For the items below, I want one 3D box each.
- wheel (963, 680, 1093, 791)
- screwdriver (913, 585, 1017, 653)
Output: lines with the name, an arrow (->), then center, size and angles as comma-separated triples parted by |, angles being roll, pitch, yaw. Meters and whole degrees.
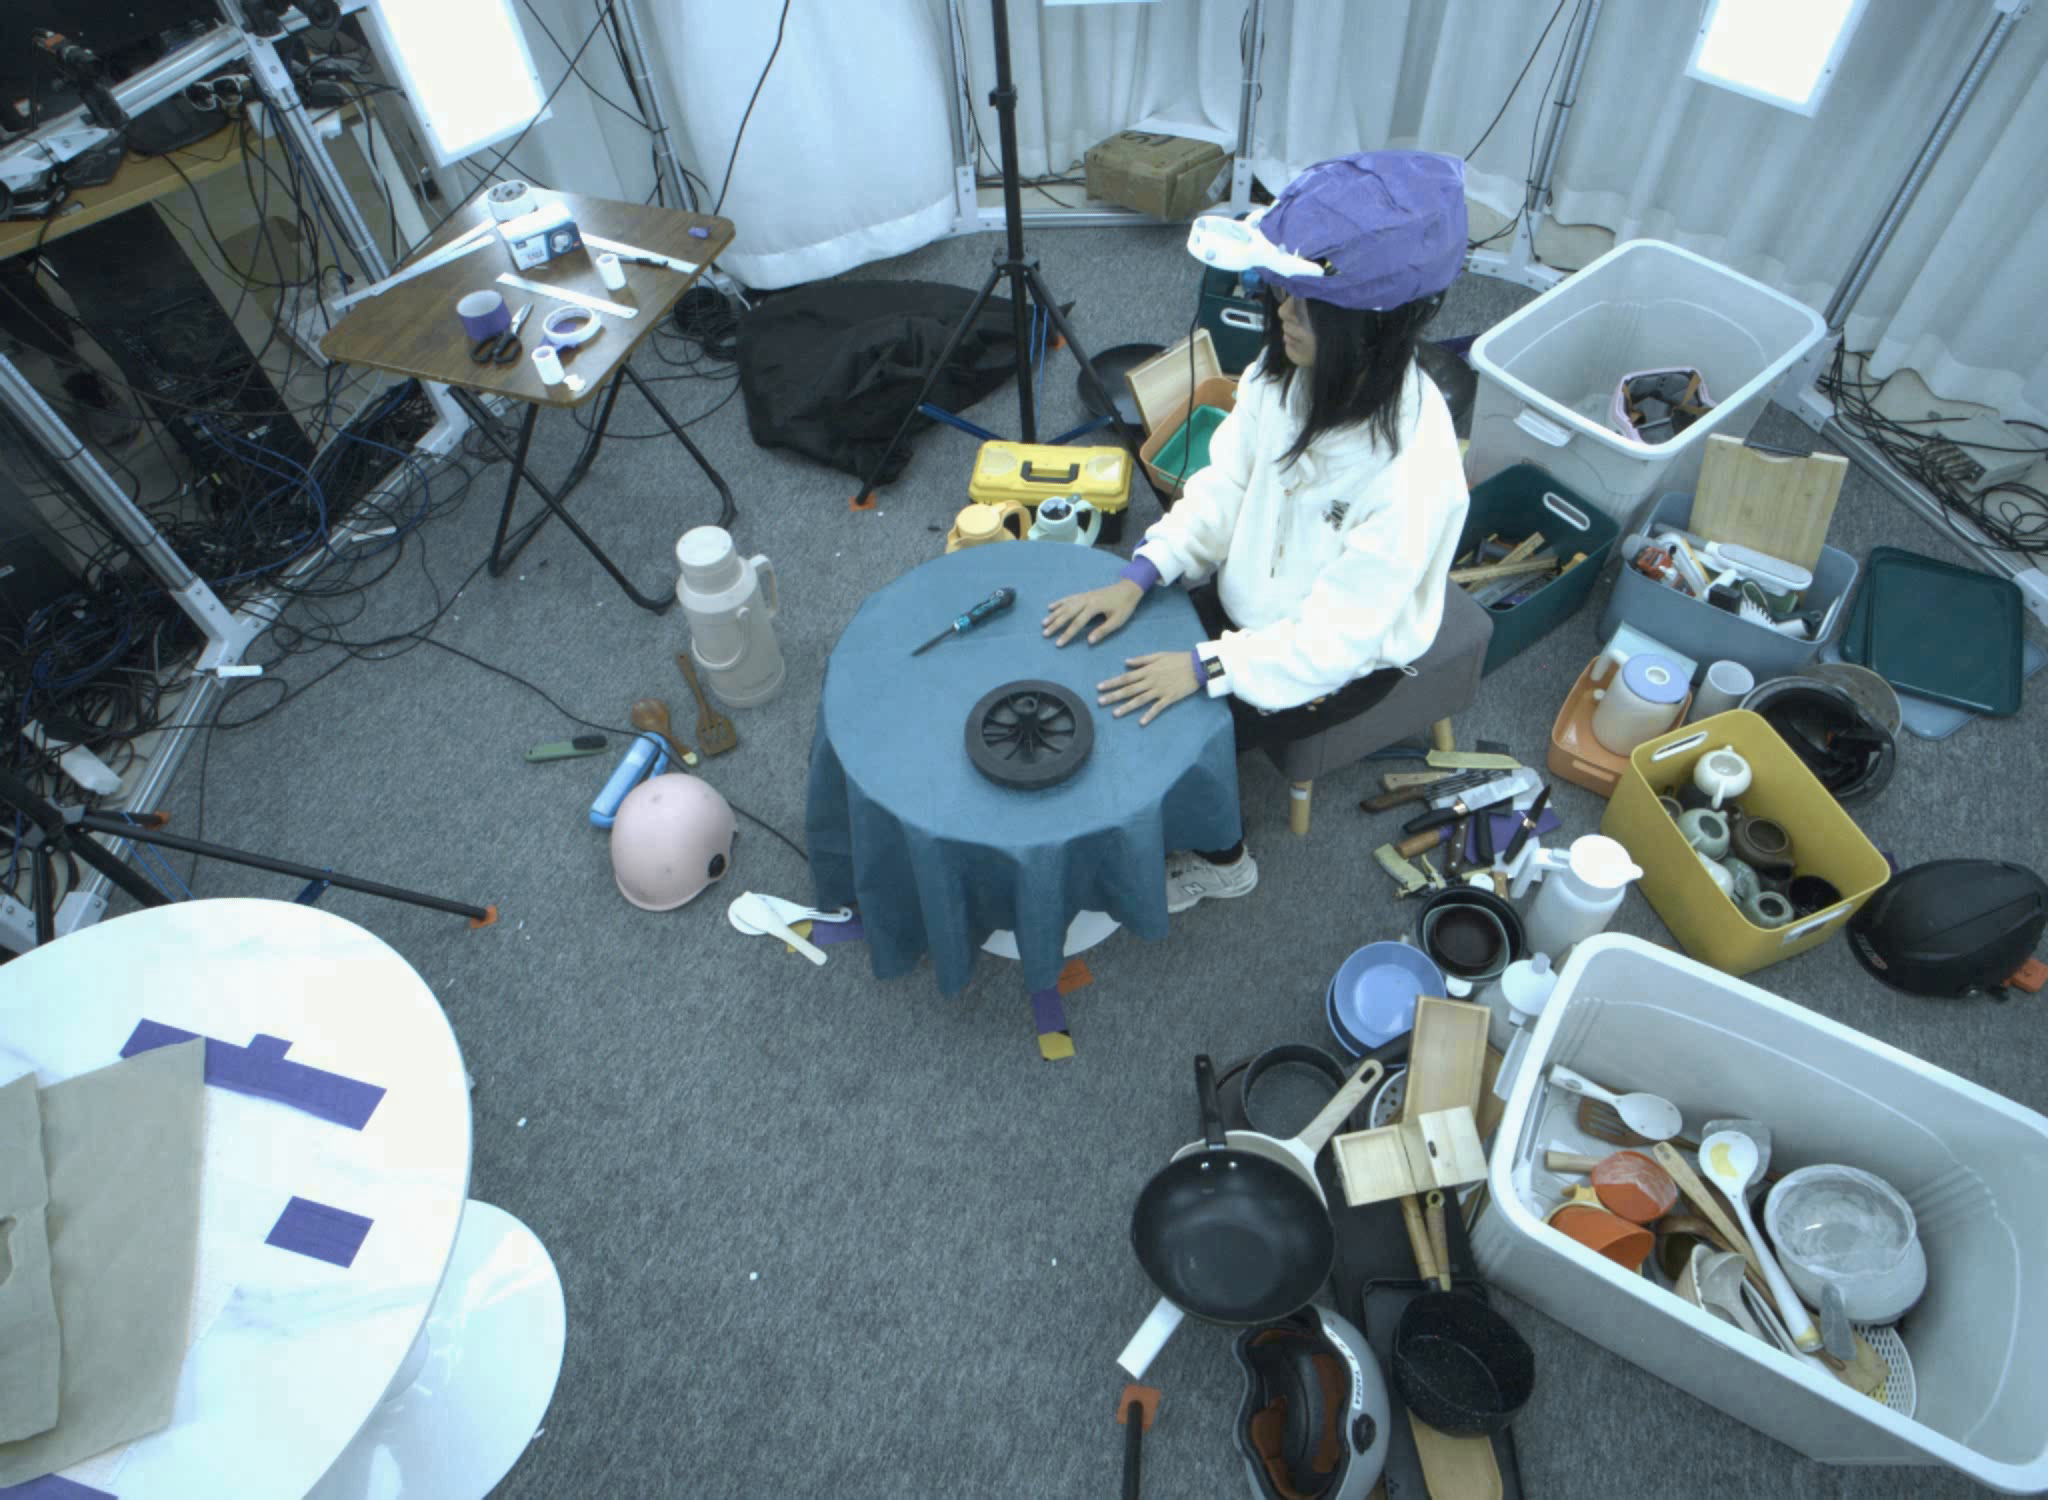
wheel -> 0.004, -0.035, 1.767 | 0.191, 0.080, 0.184 | -20, 56, -8
screwdriver -> -0.095, -0.201, 1.920 | 0.191, 0.034, 0.033 | -34, 60, -14
